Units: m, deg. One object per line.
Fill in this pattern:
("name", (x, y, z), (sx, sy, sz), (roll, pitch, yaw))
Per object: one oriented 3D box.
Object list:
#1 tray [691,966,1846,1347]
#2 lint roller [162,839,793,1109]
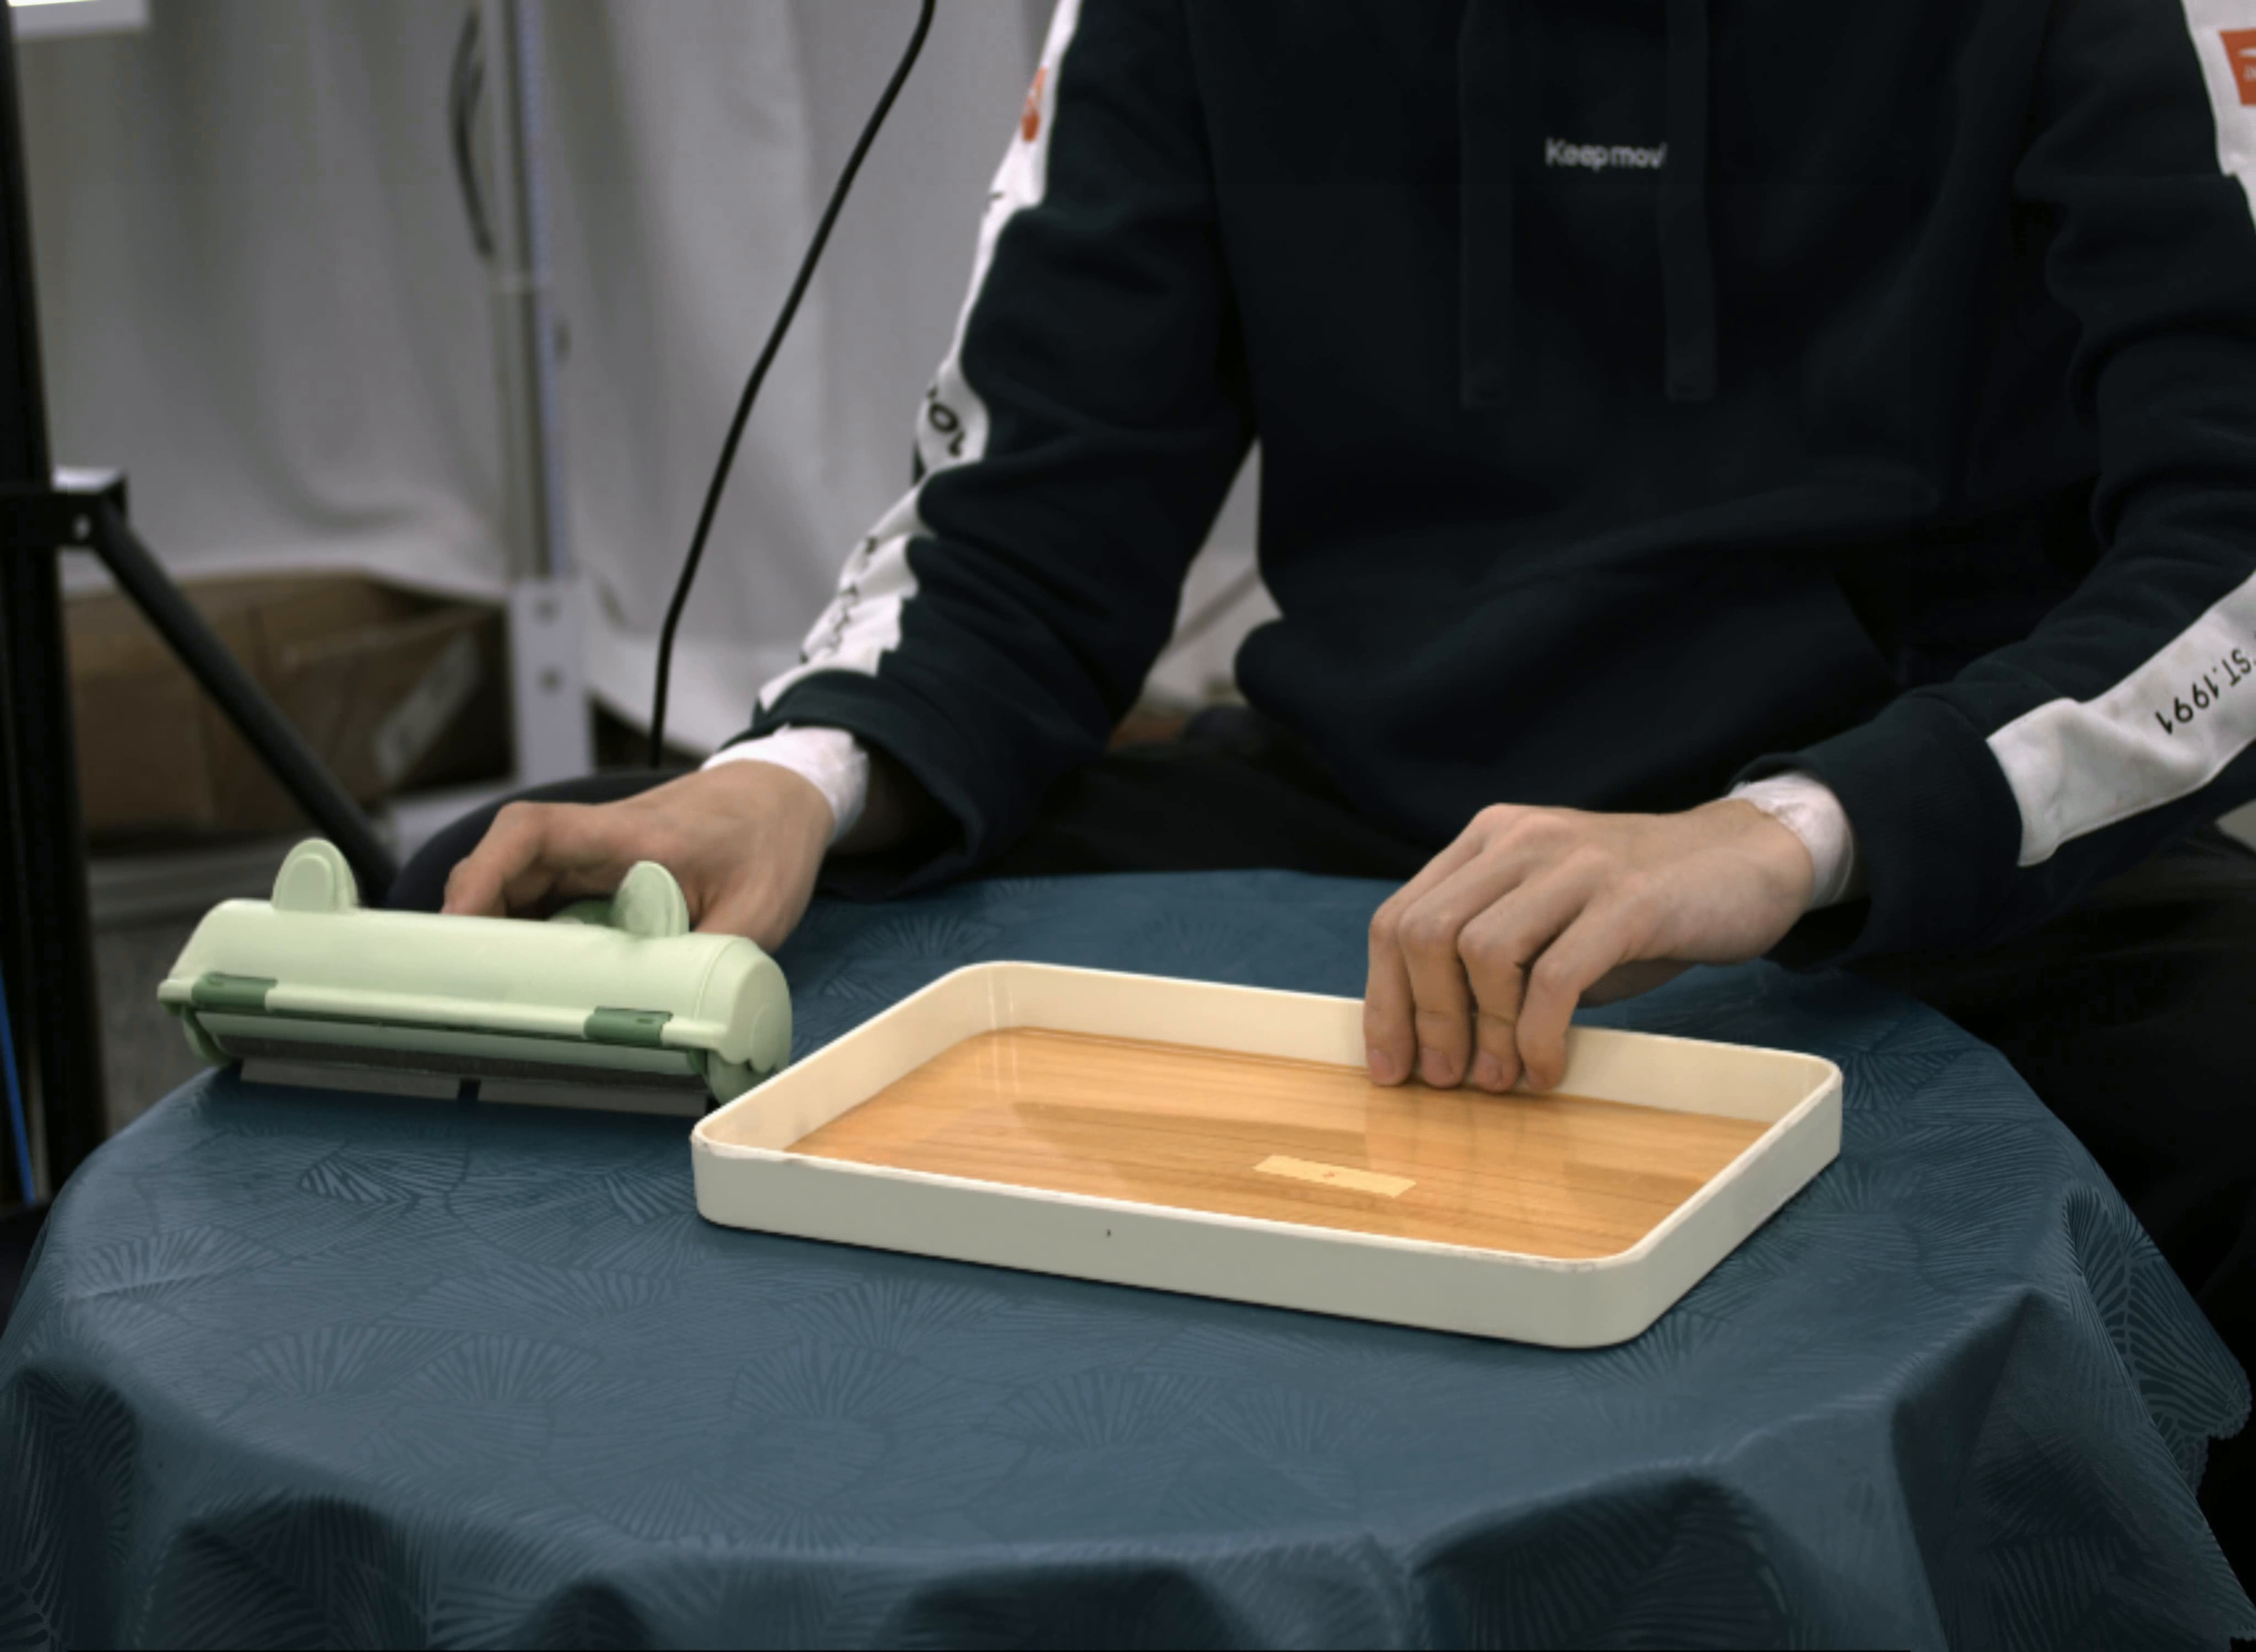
("tray", (0.042, 0.093, 1.554), (0.305, 0.027, 0.188), (6, 18, 29))
("lint roller", (-0.185, 0.030, 1.721), (0.201, 0.082, 0.181), (3, 21, 22))
